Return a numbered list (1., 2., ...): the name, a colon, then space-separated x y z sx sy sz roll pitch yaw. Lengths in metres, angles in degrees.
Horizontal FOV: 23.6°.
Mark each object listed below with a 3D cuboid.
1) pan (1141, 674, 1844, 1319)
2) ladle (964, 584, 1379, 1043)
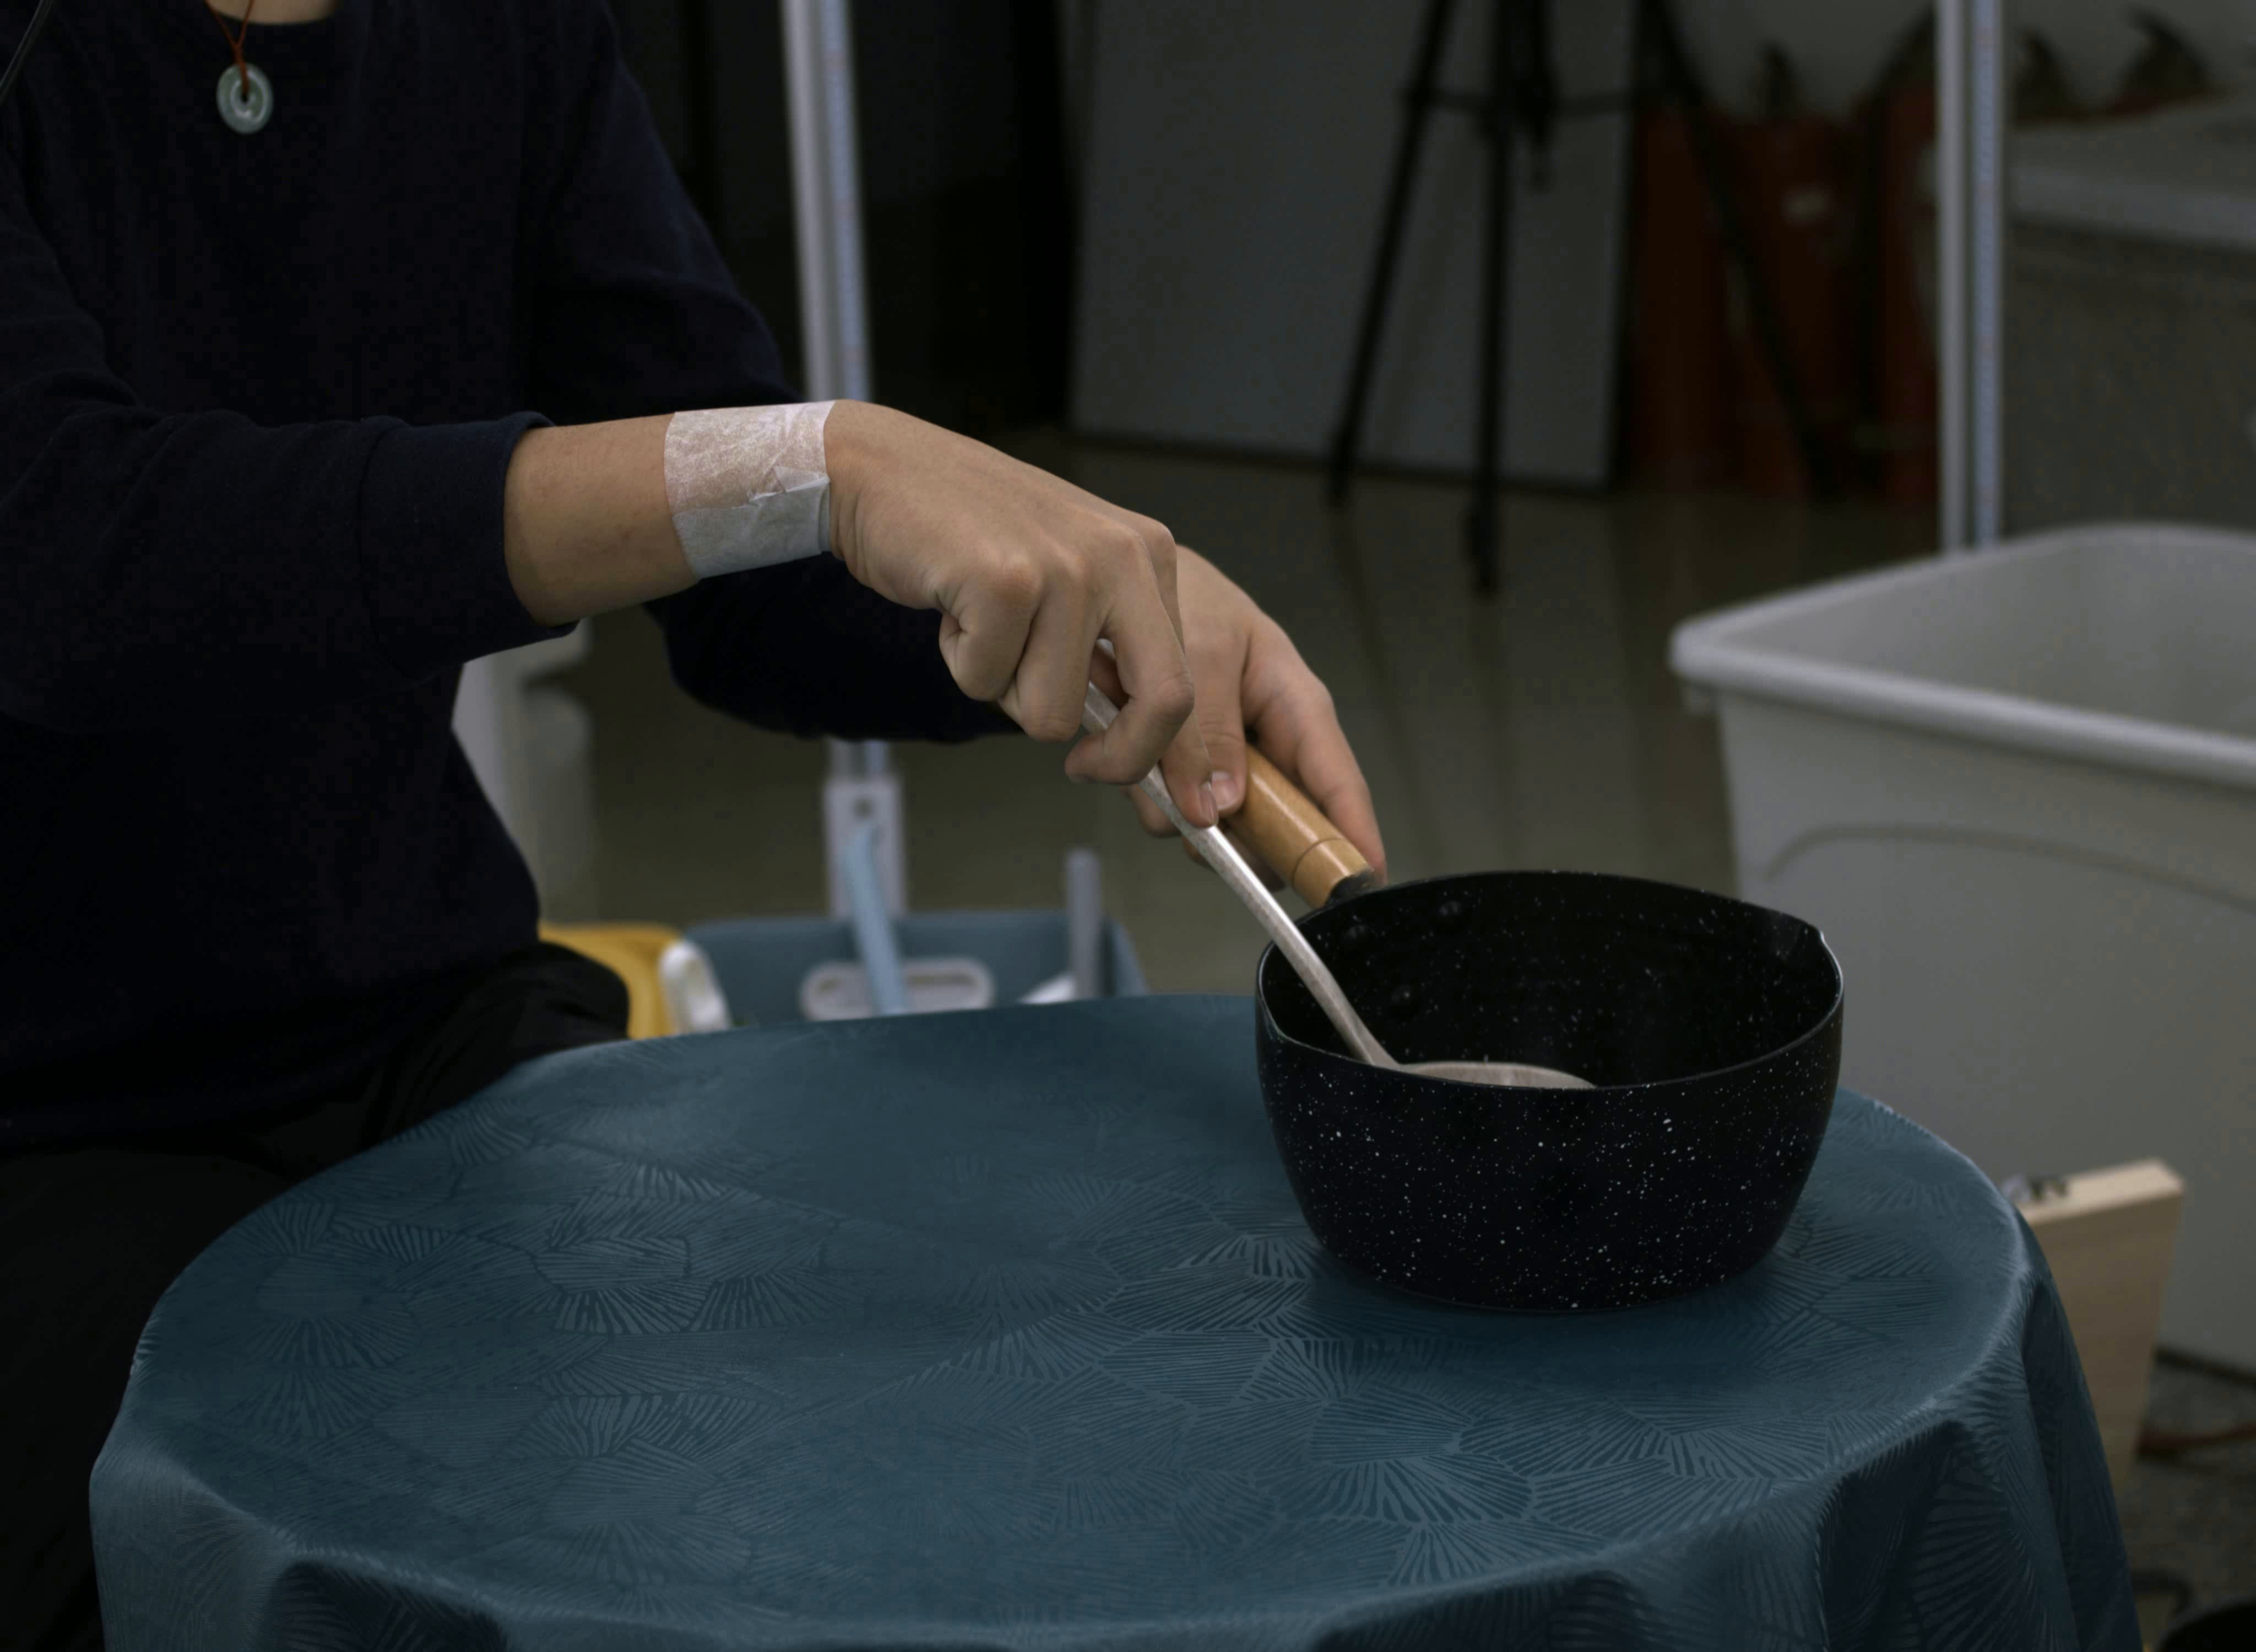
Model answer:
1. pan: 0.092 0.050 1.741 0.203 0.109 0.346 -12 23 -26
2. ladle: 0.057 0.016 1.638 0.069 0.274 0.089 -32 20 17
